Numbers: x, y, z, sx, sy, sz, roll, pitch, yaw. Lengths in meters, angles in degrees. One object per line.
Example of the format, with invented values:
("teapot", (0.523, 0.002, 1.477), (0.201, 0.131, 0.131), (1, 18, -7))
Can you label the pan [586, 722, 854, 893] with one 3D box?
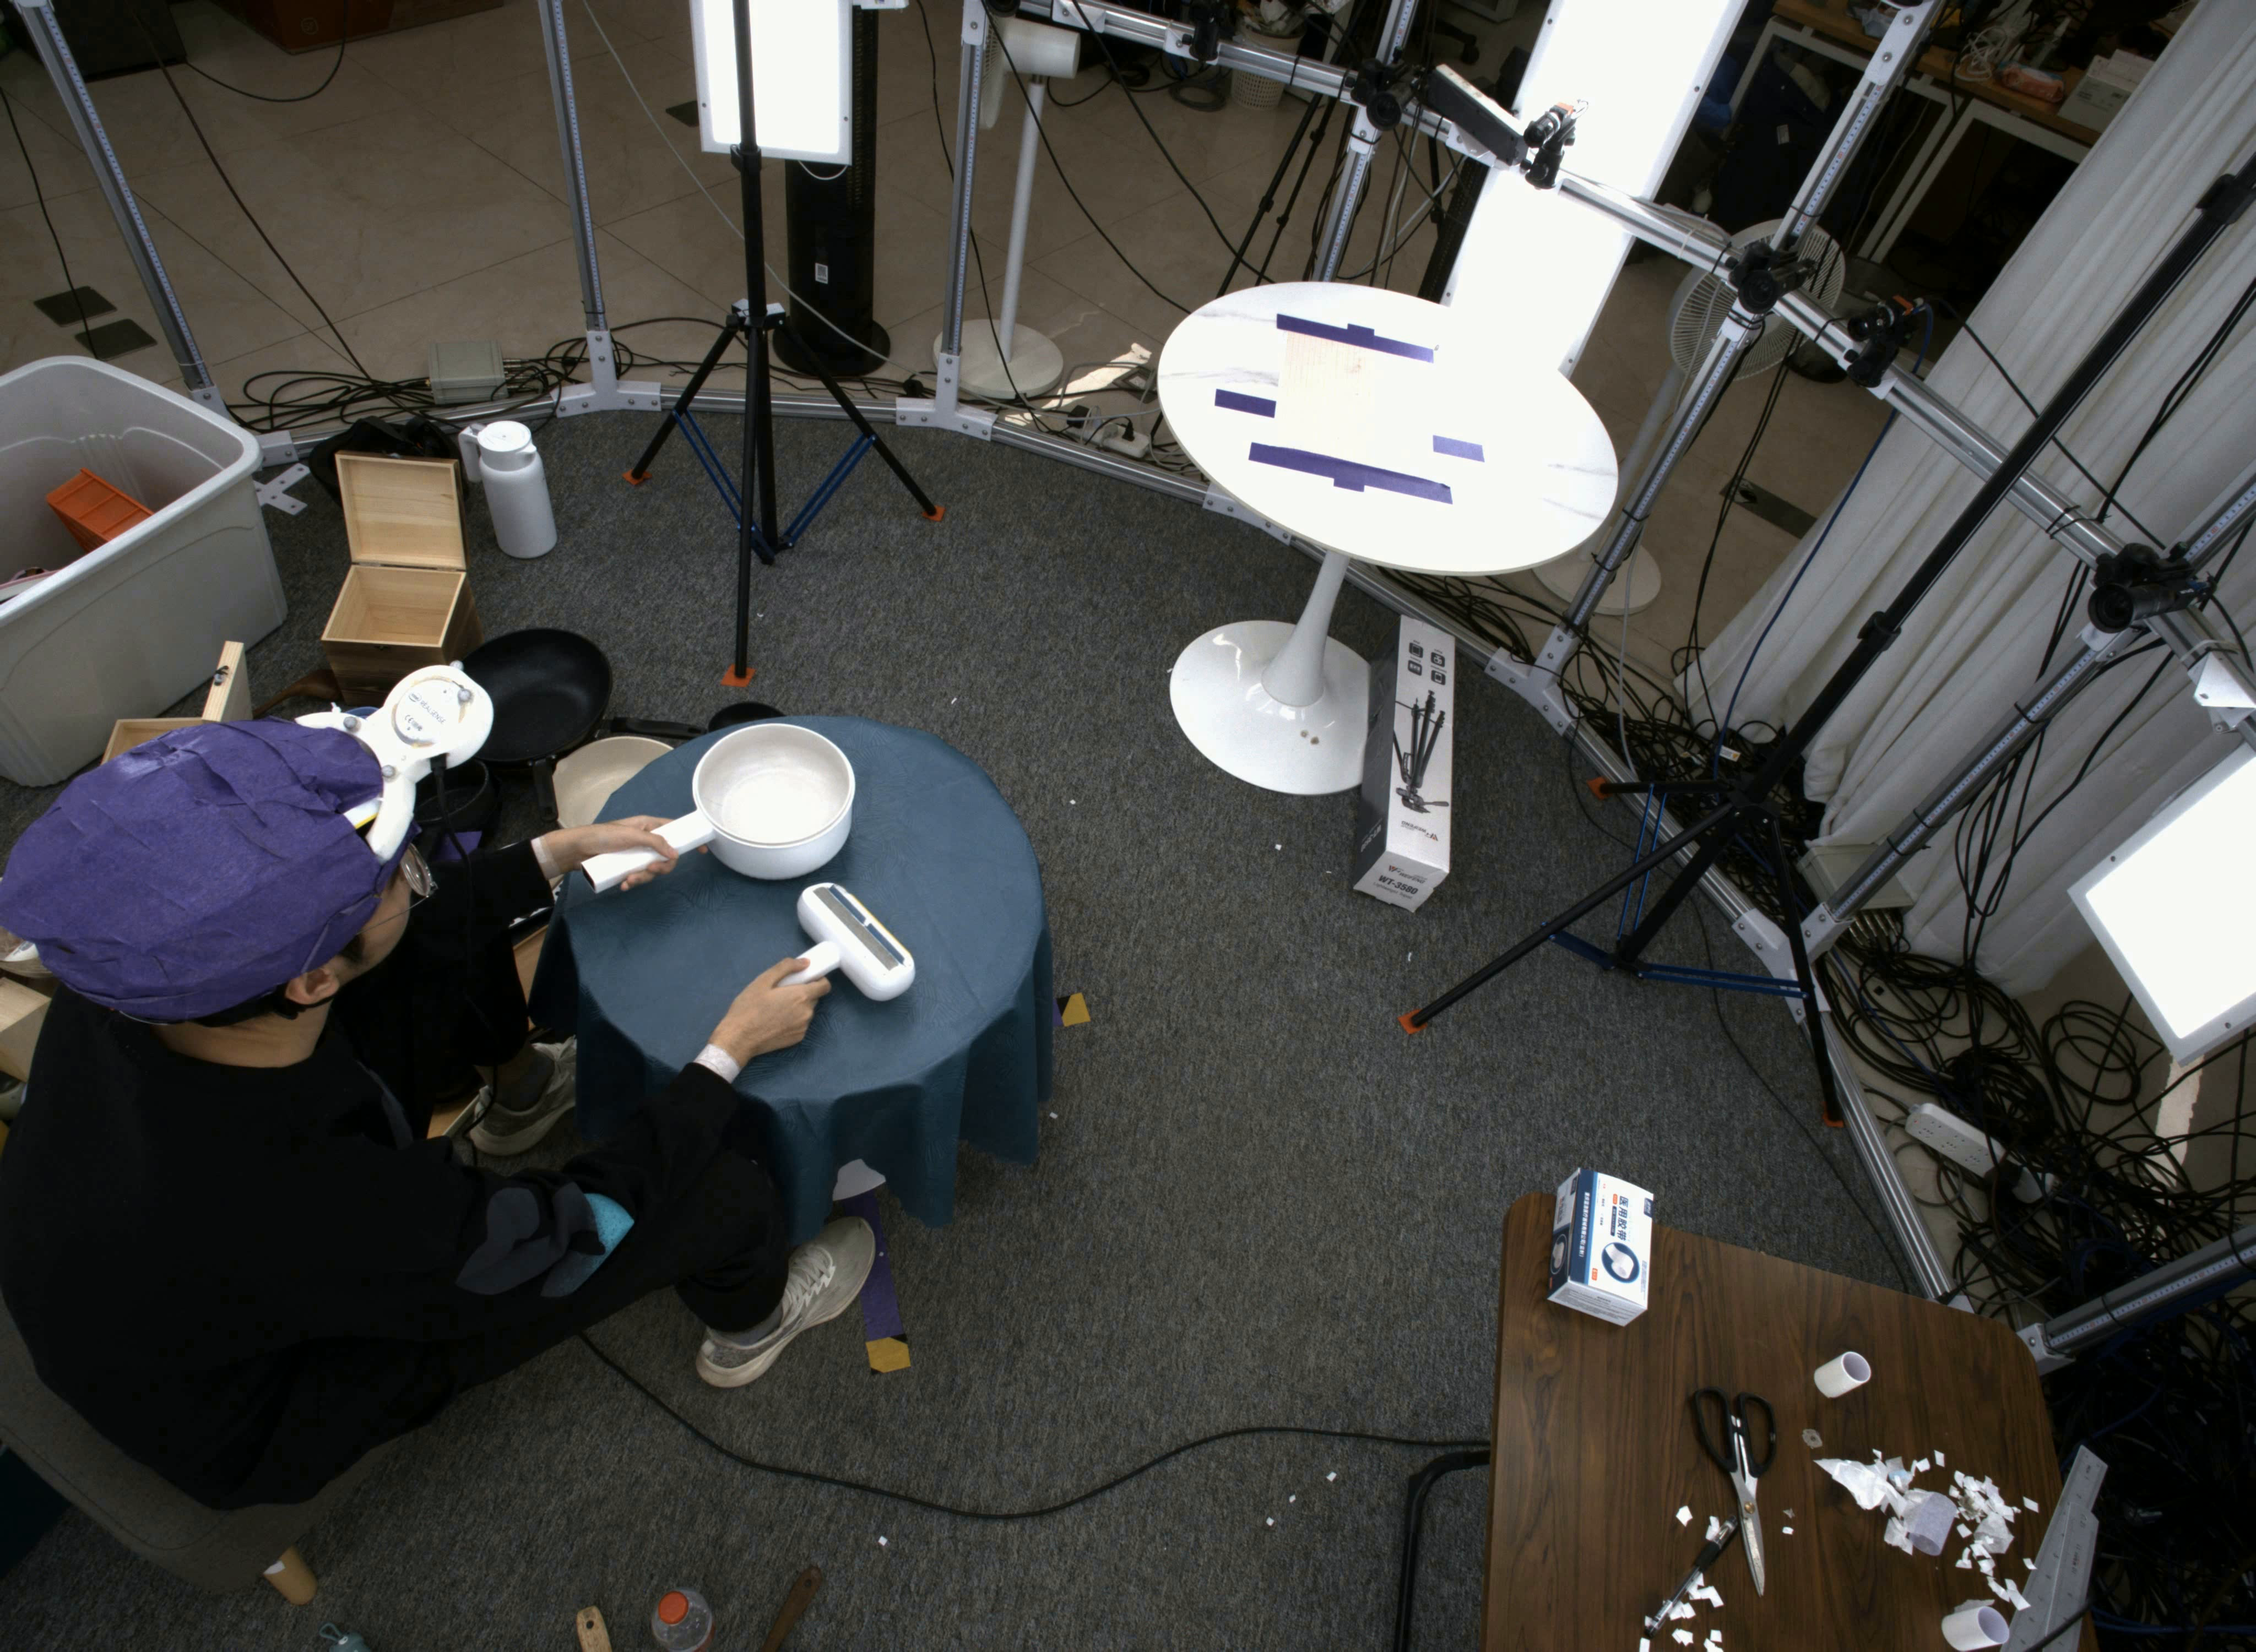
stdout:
("pan", (-0.514, 0.005, 1.636), (0.356, 0.104, 0.196), (-30, 66, -31))

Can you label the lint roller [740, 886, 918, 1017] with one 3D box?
("lint roller", (-0.377, 0.166, 1.565), (0.194, 0.076, 0.187), (-22, 56, -36))
